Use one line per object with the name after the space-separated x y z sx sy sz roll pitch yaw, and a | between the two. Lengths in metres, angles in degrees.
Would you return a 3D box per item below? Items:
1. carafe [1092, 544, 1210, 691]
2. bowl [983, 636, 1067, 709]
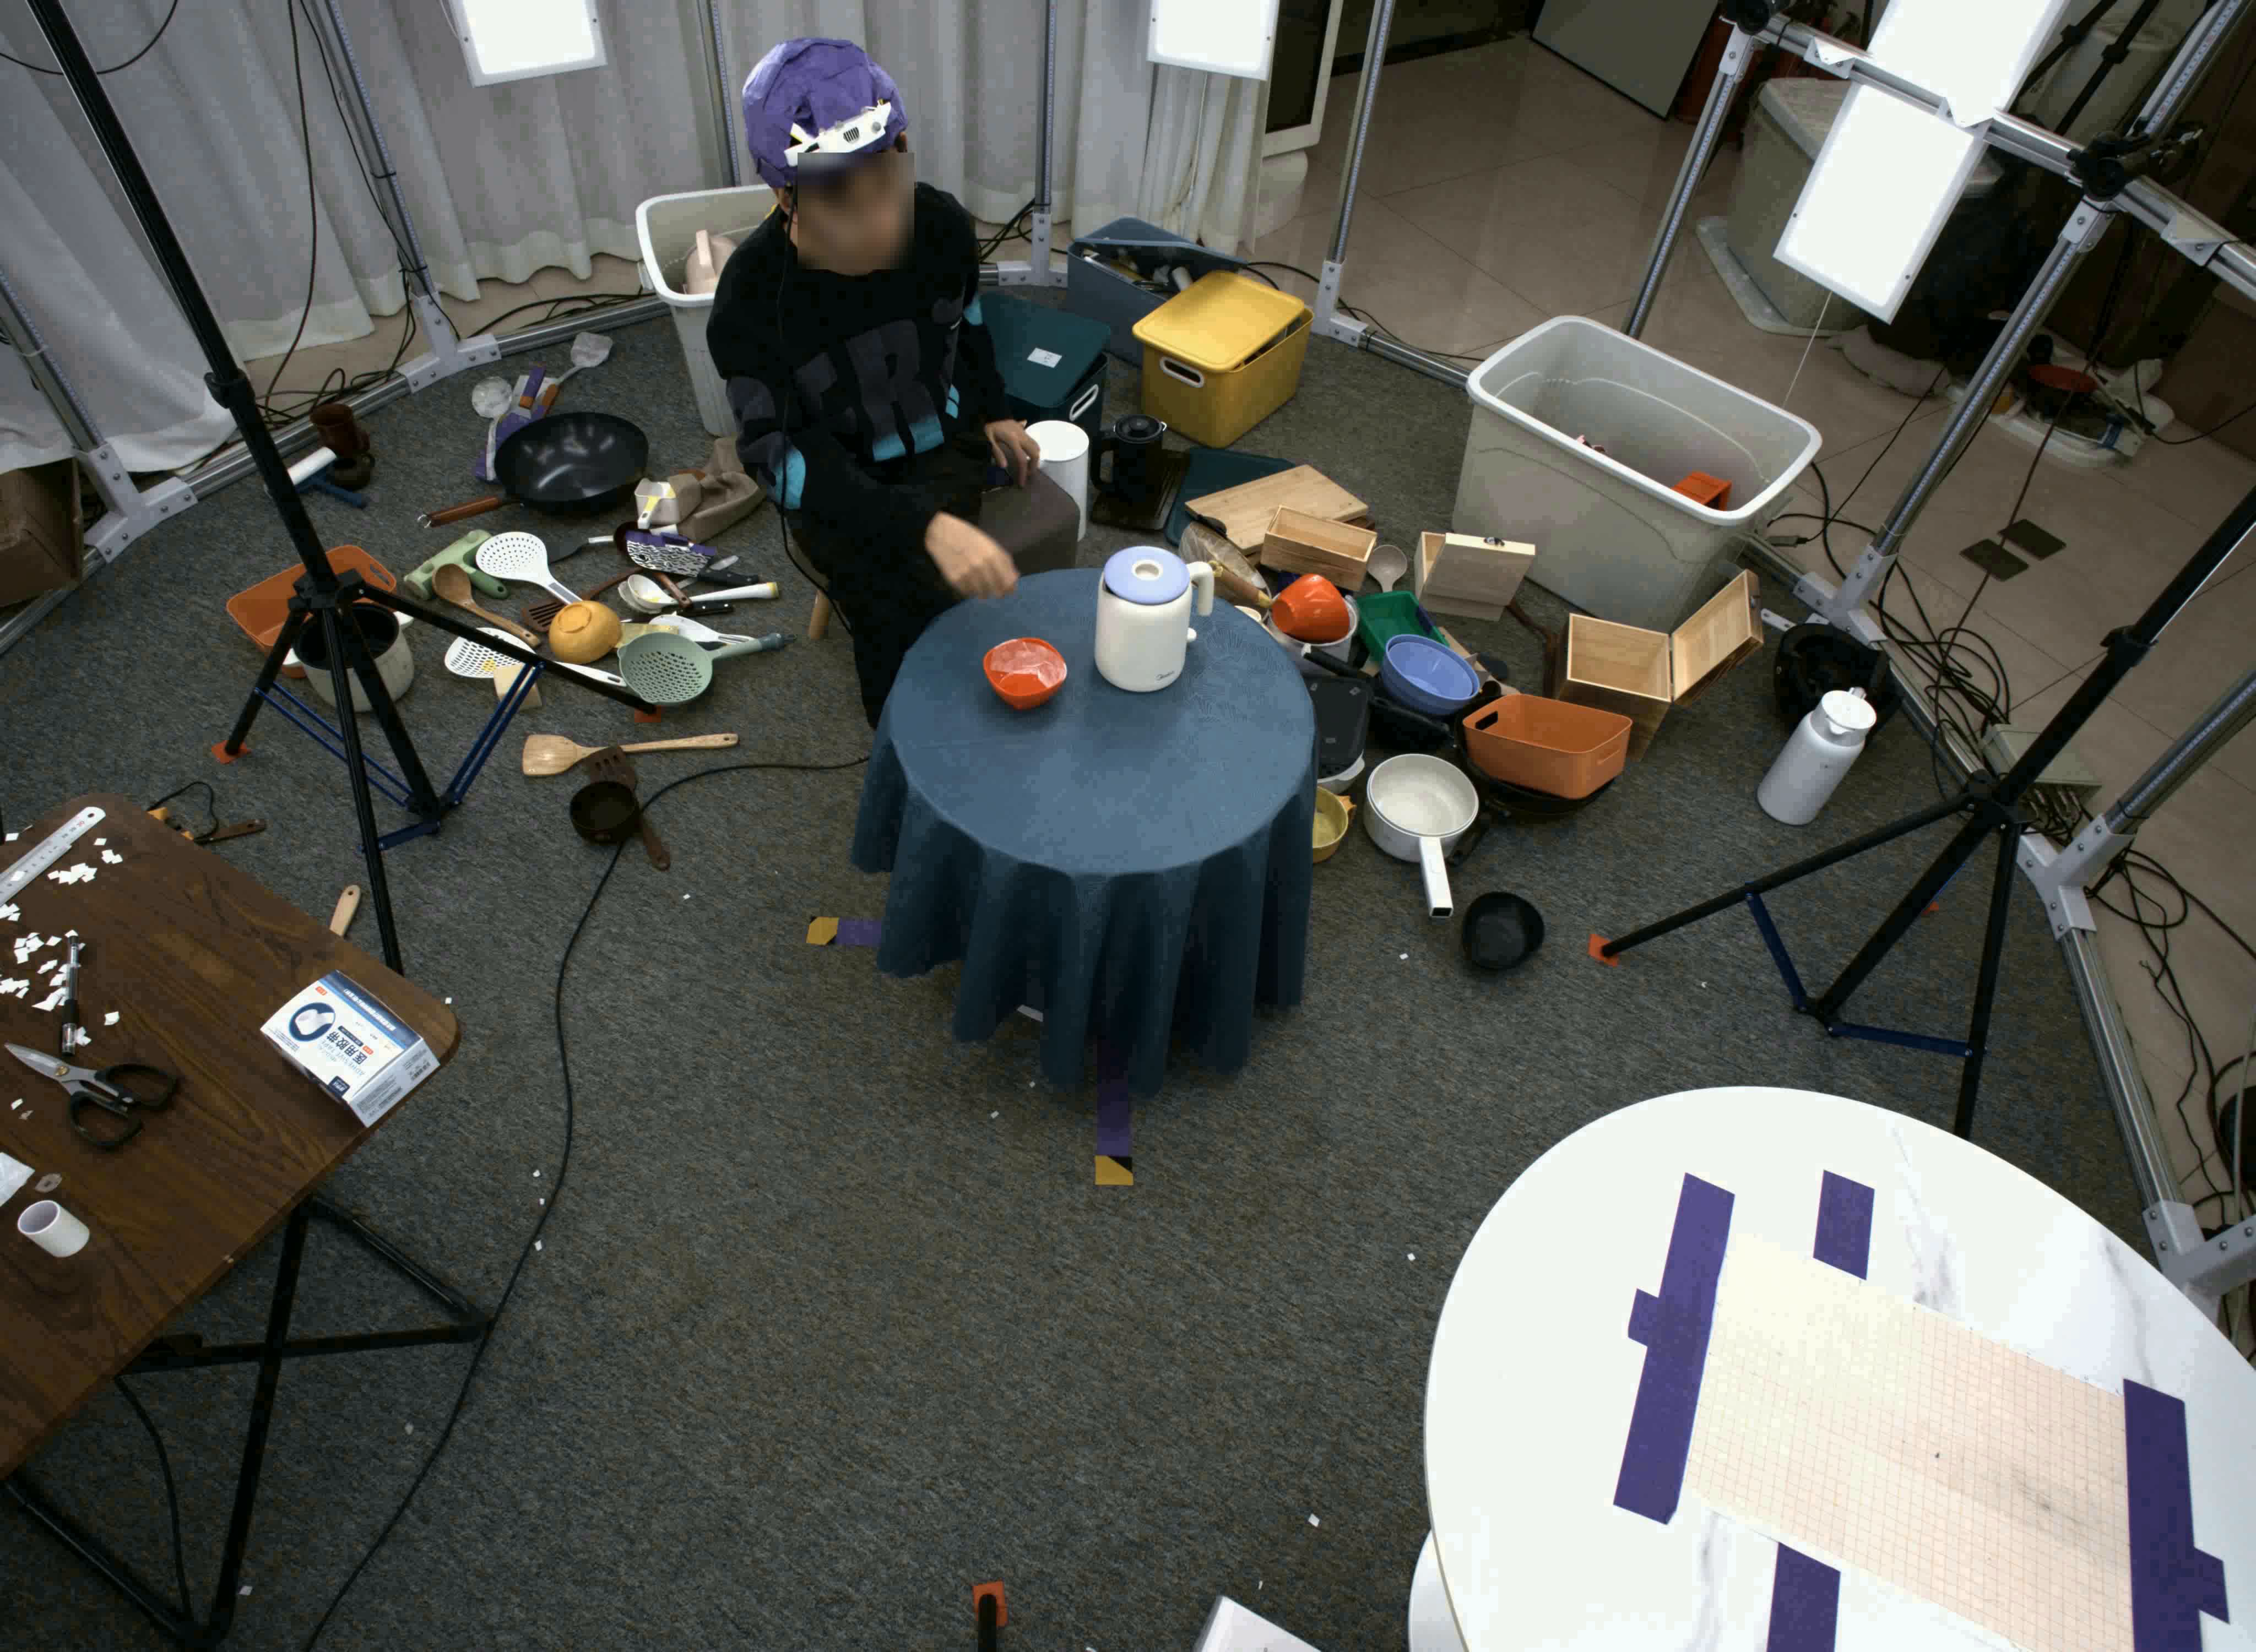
0.039 -0.302 1.823 0.192 0.178 0.135 -24 56 -25 | carafe
-0.144 -0.209 1.806 0.119 0.050 0.122 1 52 -2 | bowl
